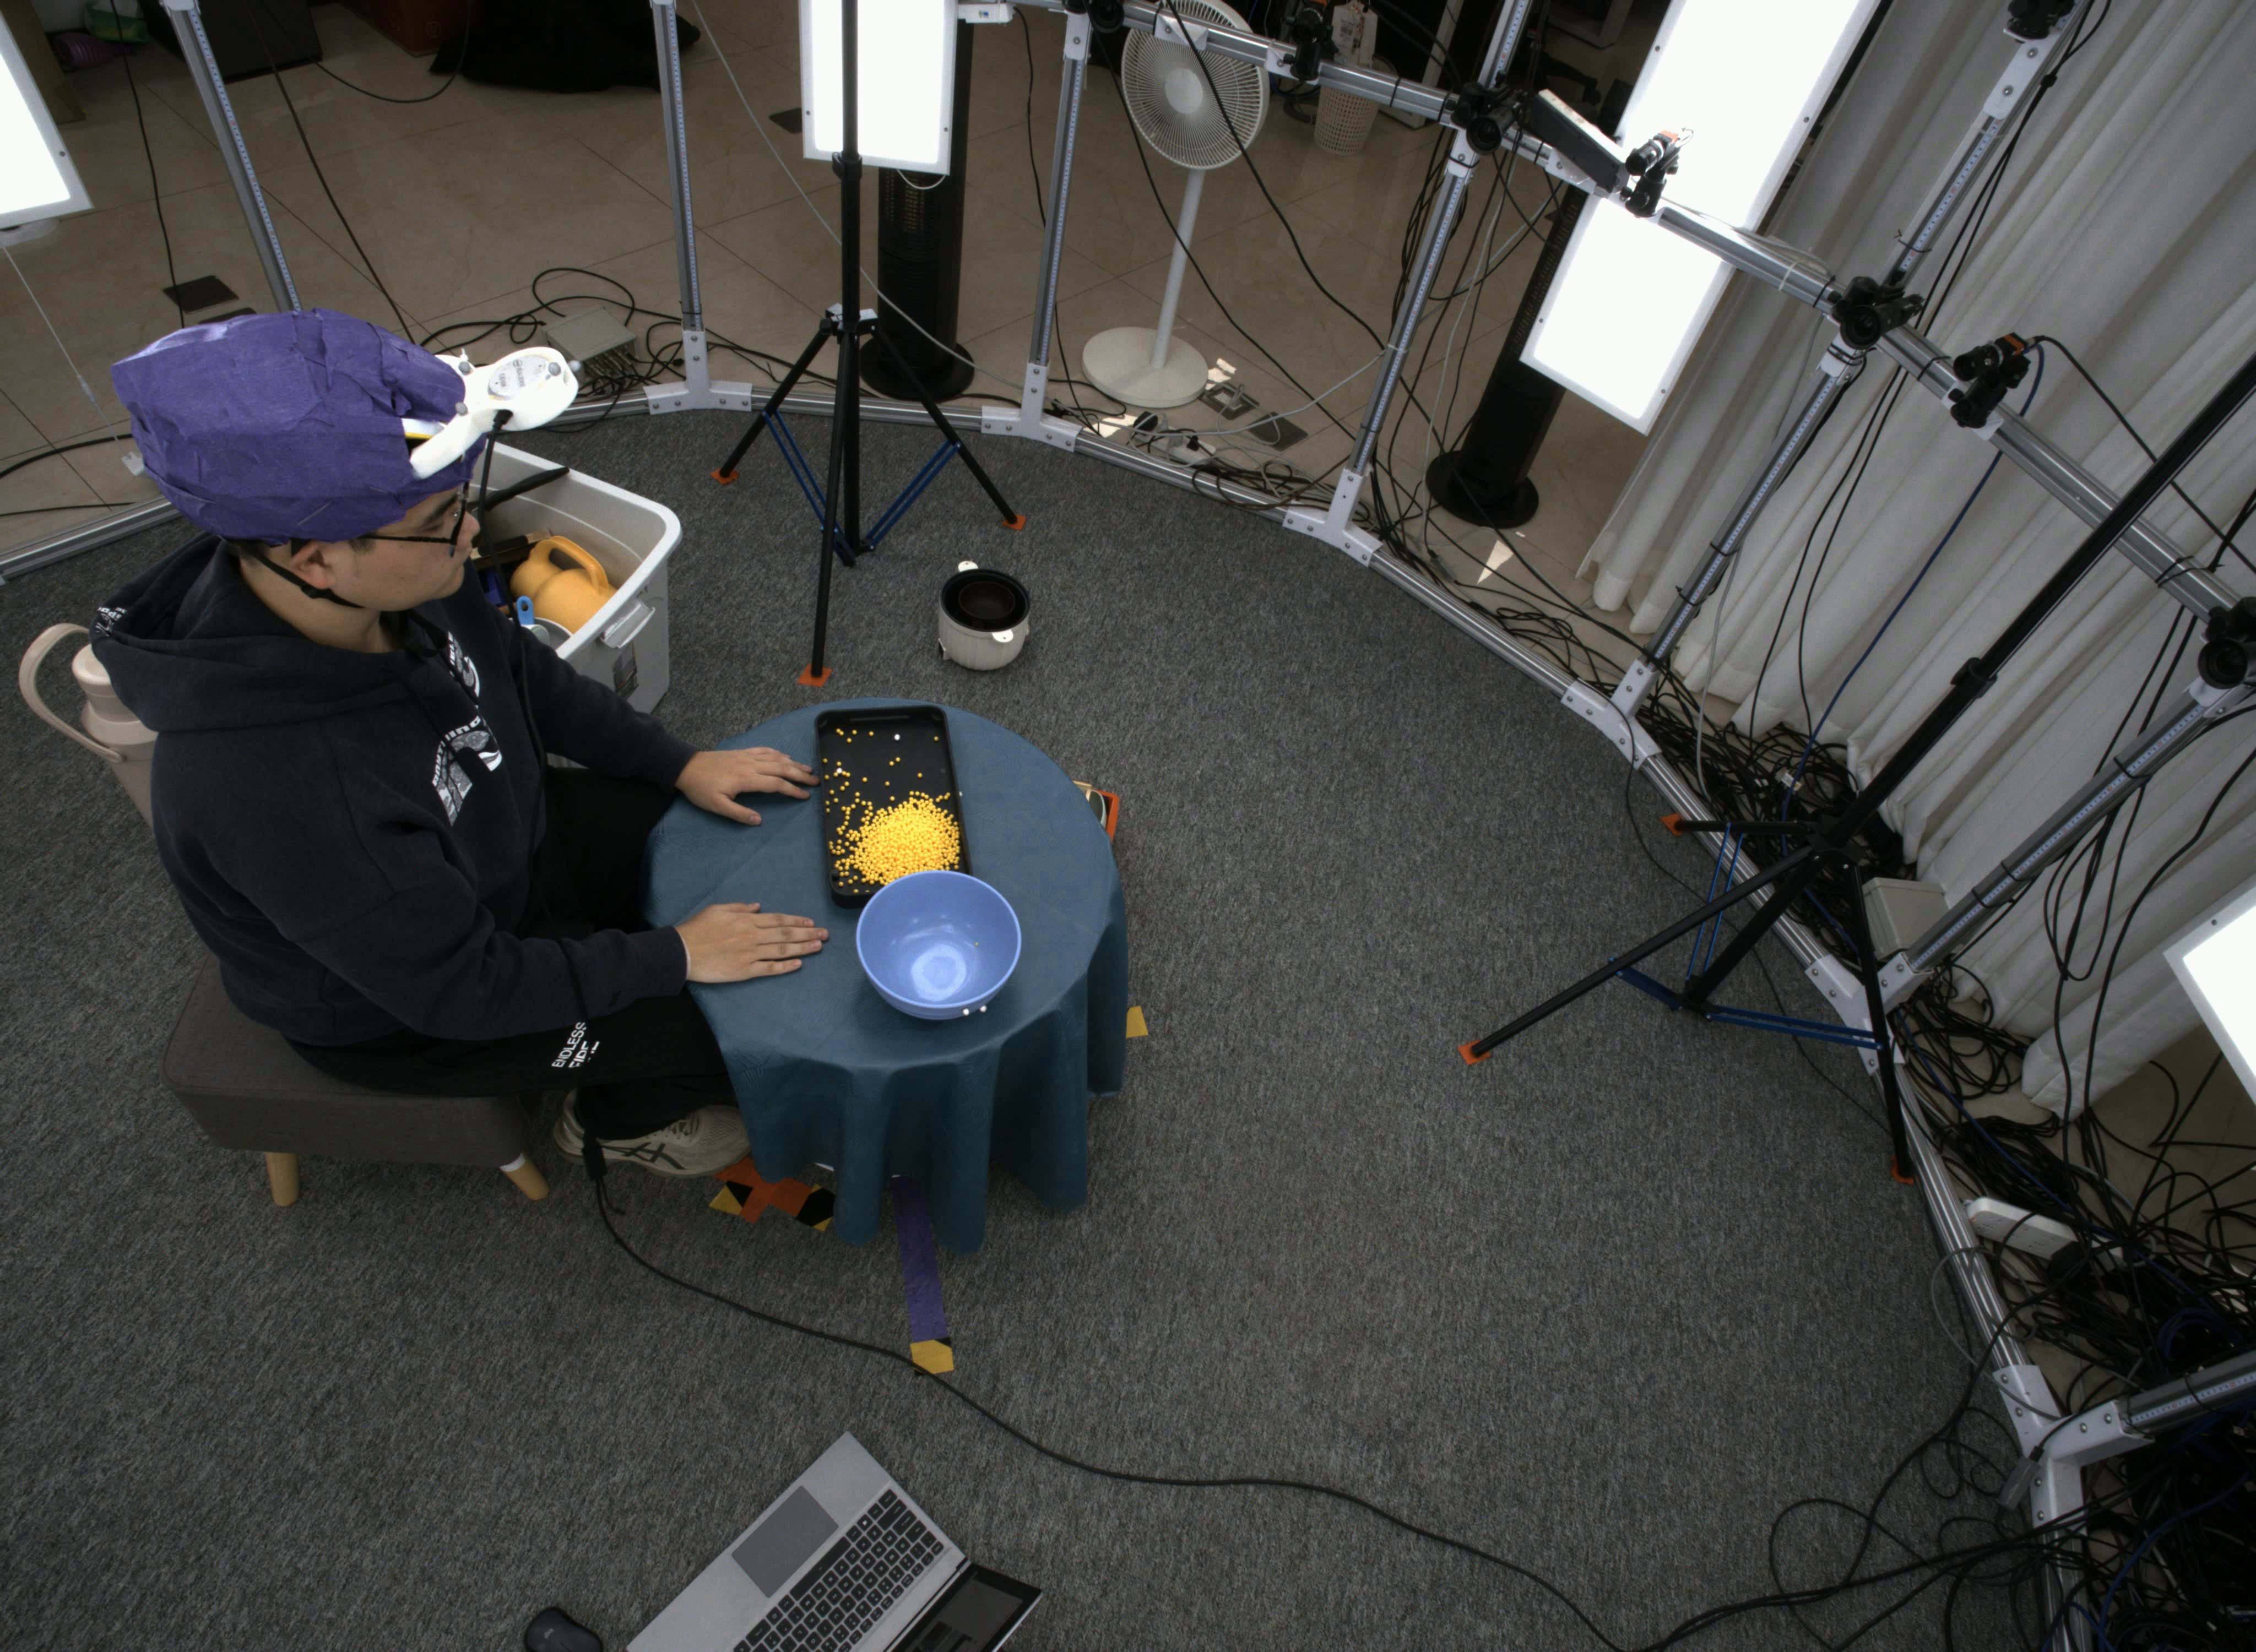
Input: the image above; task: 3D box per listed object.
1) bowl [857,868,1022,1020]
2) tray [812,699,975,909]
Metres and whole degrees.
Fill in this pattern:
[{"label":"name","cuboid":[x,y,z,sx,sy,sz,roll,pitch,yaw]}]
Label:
[{"label":"bowl","cuboid":[-0.231,0.157,1.588,0.196,0.097,0.193,8,53,-9]},{"label":"tray","cuboid":[-0.320,-0.037,1.752,0.185,0.038,0.311,-5,56,-17]}]
